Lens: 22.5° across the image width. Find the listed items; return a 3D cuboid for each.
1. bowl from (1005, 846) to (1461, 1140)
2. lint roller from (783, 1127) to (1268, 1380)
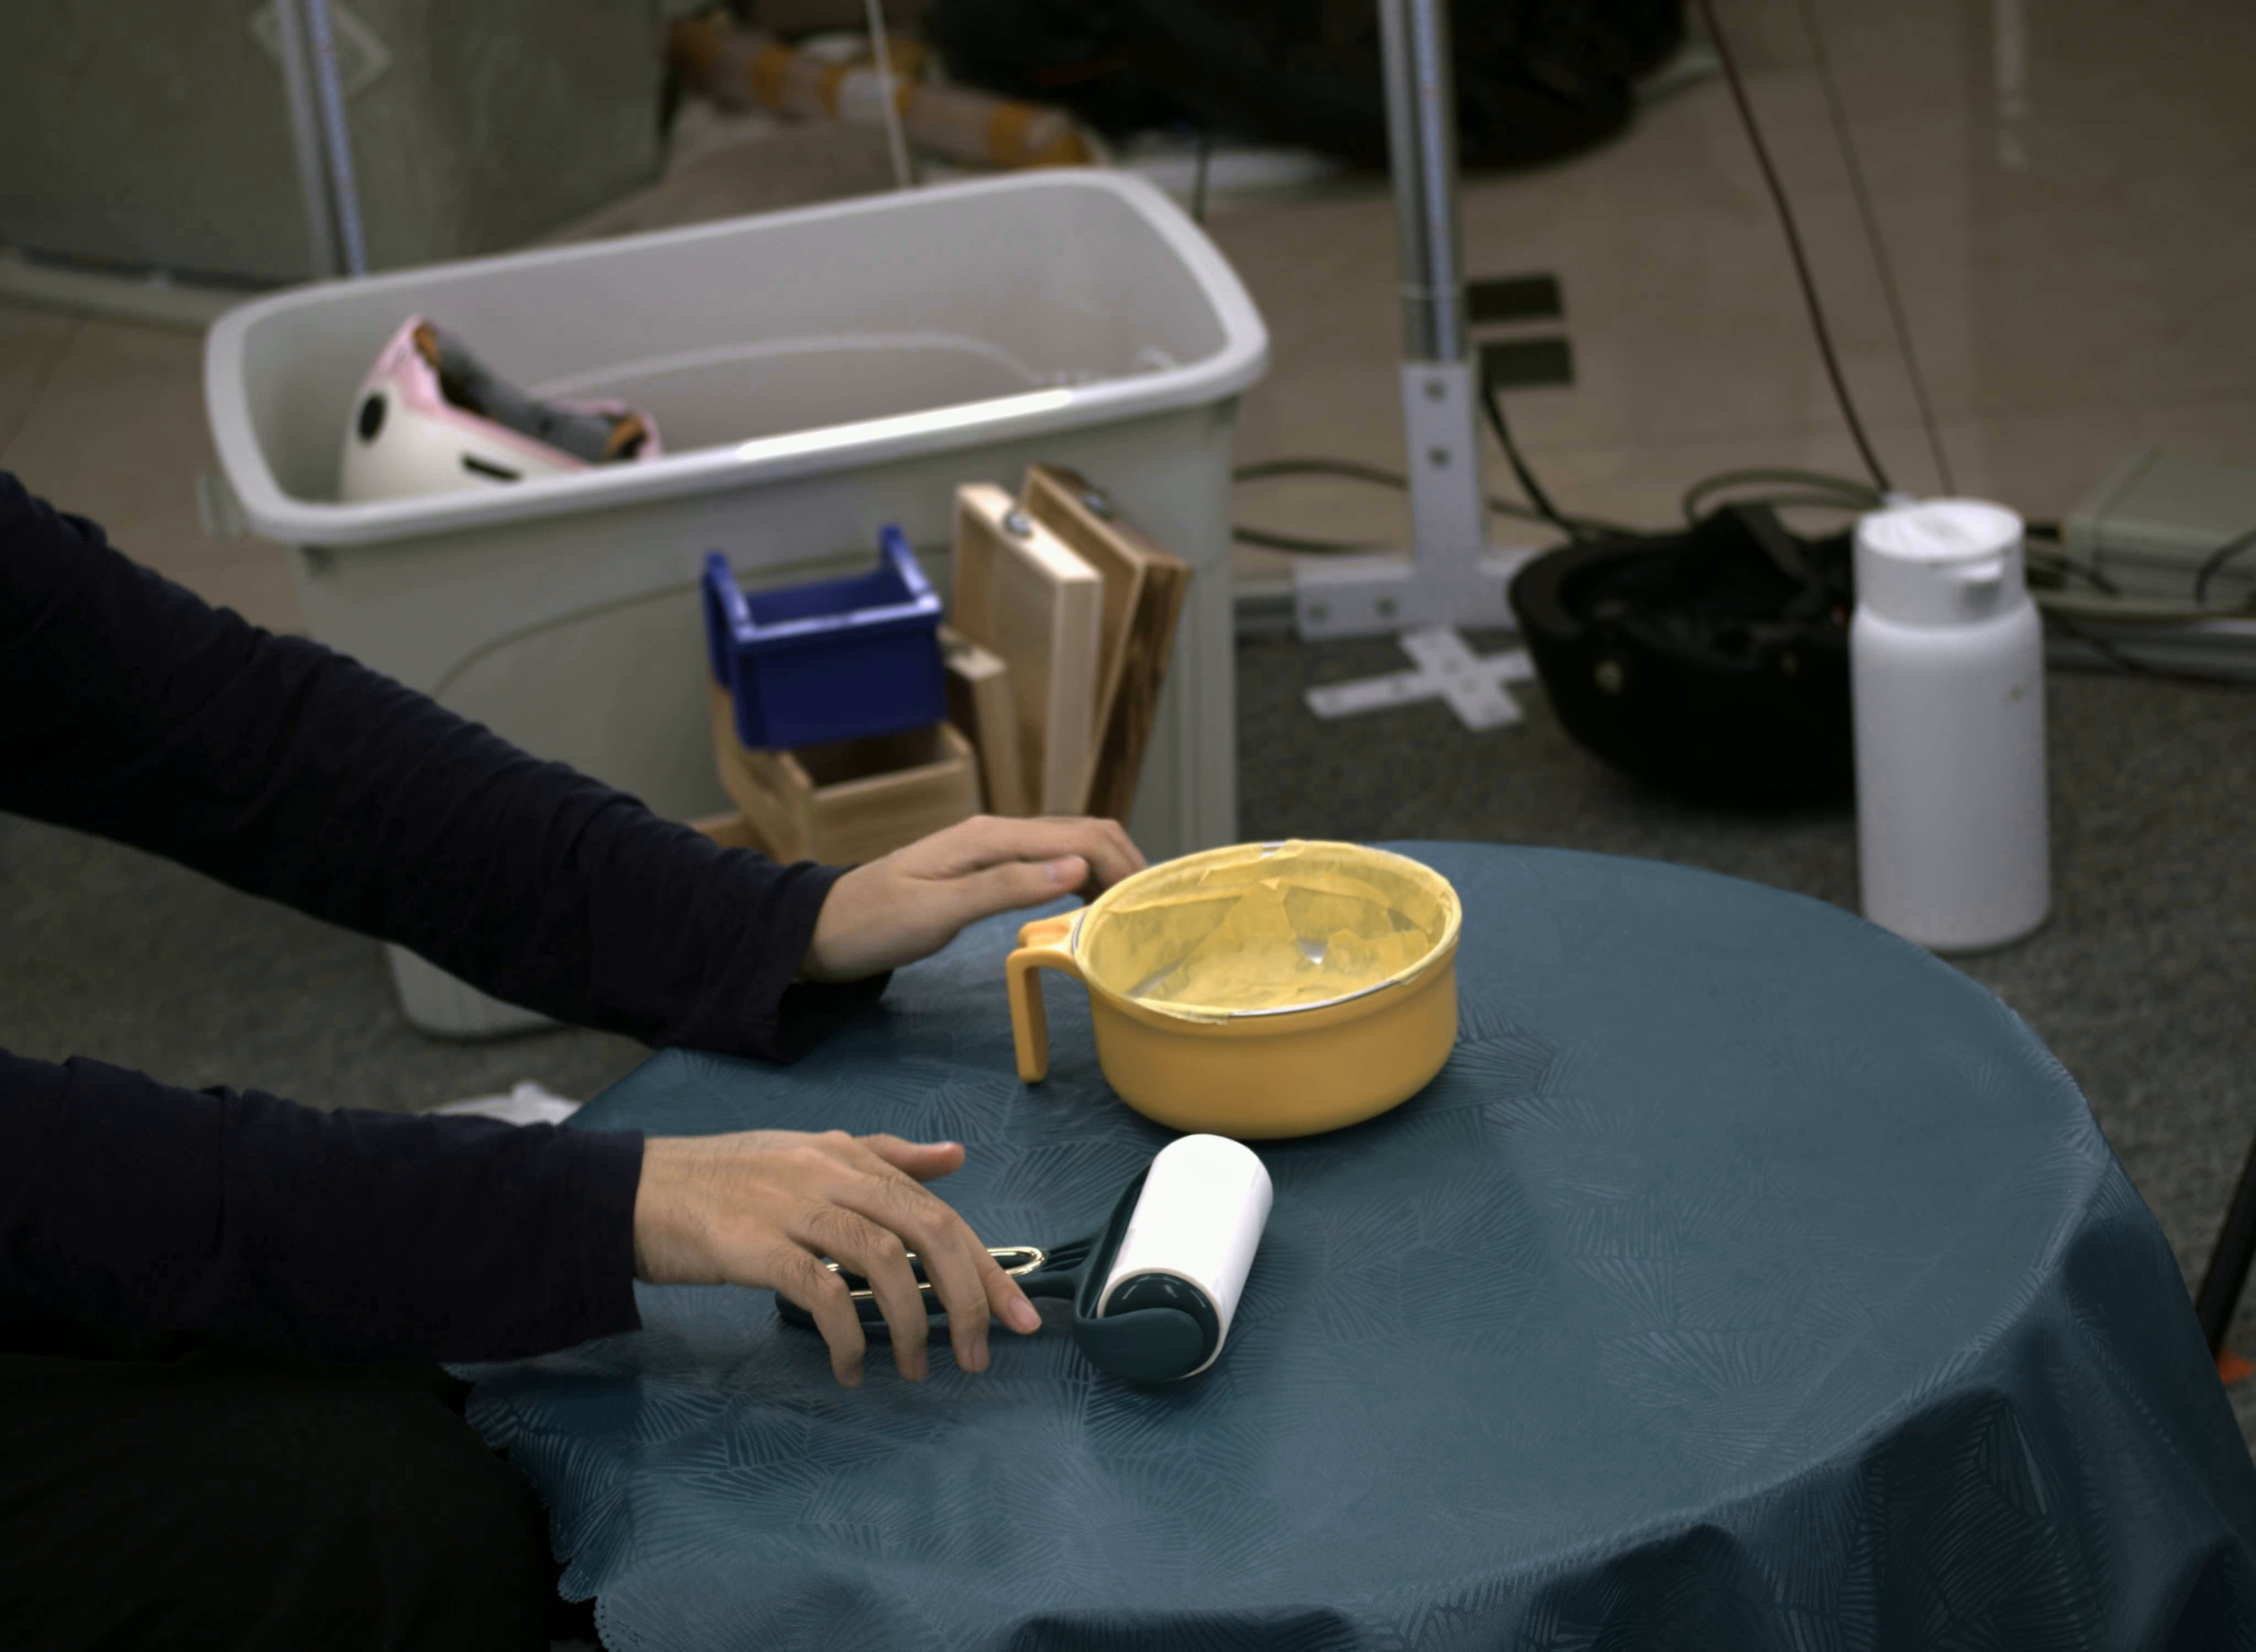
[{"bbox_3d":[0.043,0.068,2.215,0.179,0.075,0.150,-3,27,7],"label":"bowl"},{"bbox_3d":[-0.044,0.161,2.070,0.180,0.049,0.132,-5,25,14],"label":"lint roller"}]
